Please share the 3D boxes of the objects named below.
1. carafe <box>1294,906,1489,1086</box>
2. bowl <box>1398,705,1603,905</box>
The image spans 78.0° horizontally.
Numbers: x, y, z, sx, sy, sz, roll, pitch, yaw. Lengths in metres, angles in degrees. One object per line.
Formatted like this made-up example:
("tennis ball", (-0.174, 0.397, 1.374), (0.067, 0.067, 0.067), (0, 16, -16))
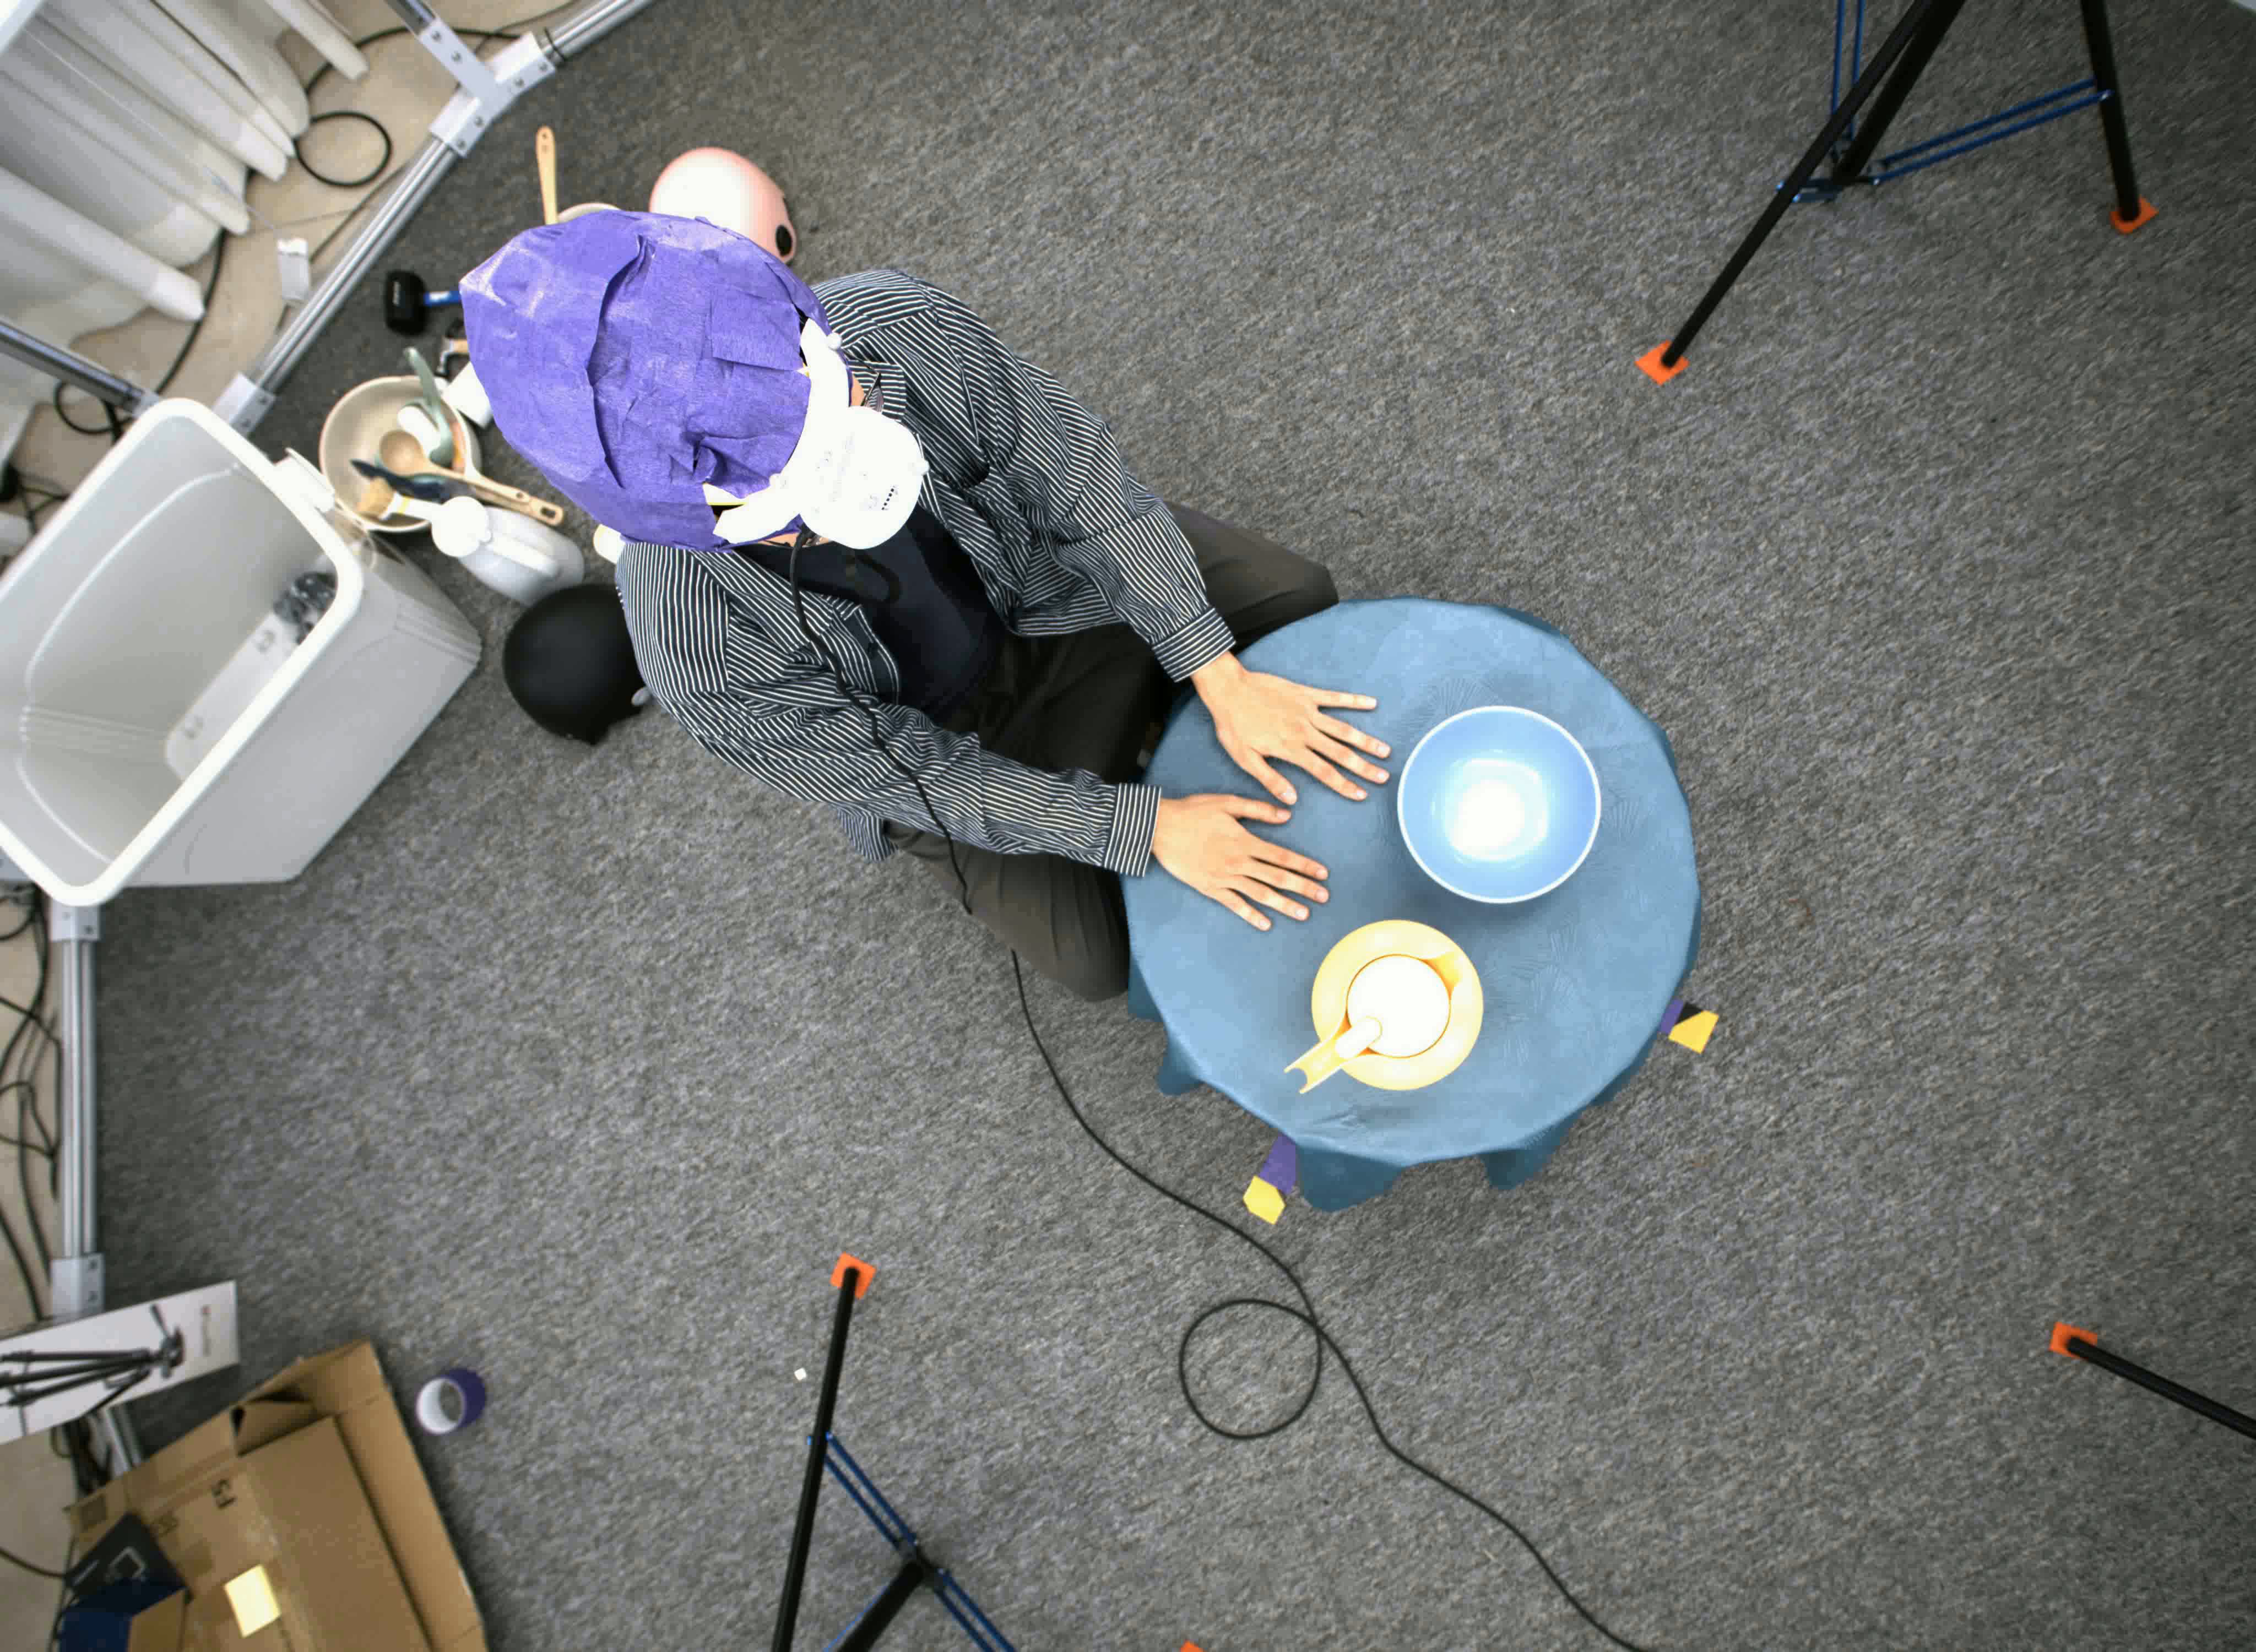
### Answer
("carafe", (0.244, 0.166, 1.318), (0.203, 0.260, 0.162), (-38, 81, 6))
("bowl", (0.370, -0.019, 1.386), (0.197, 0.095, 0.196), (-1, 87, 9))
